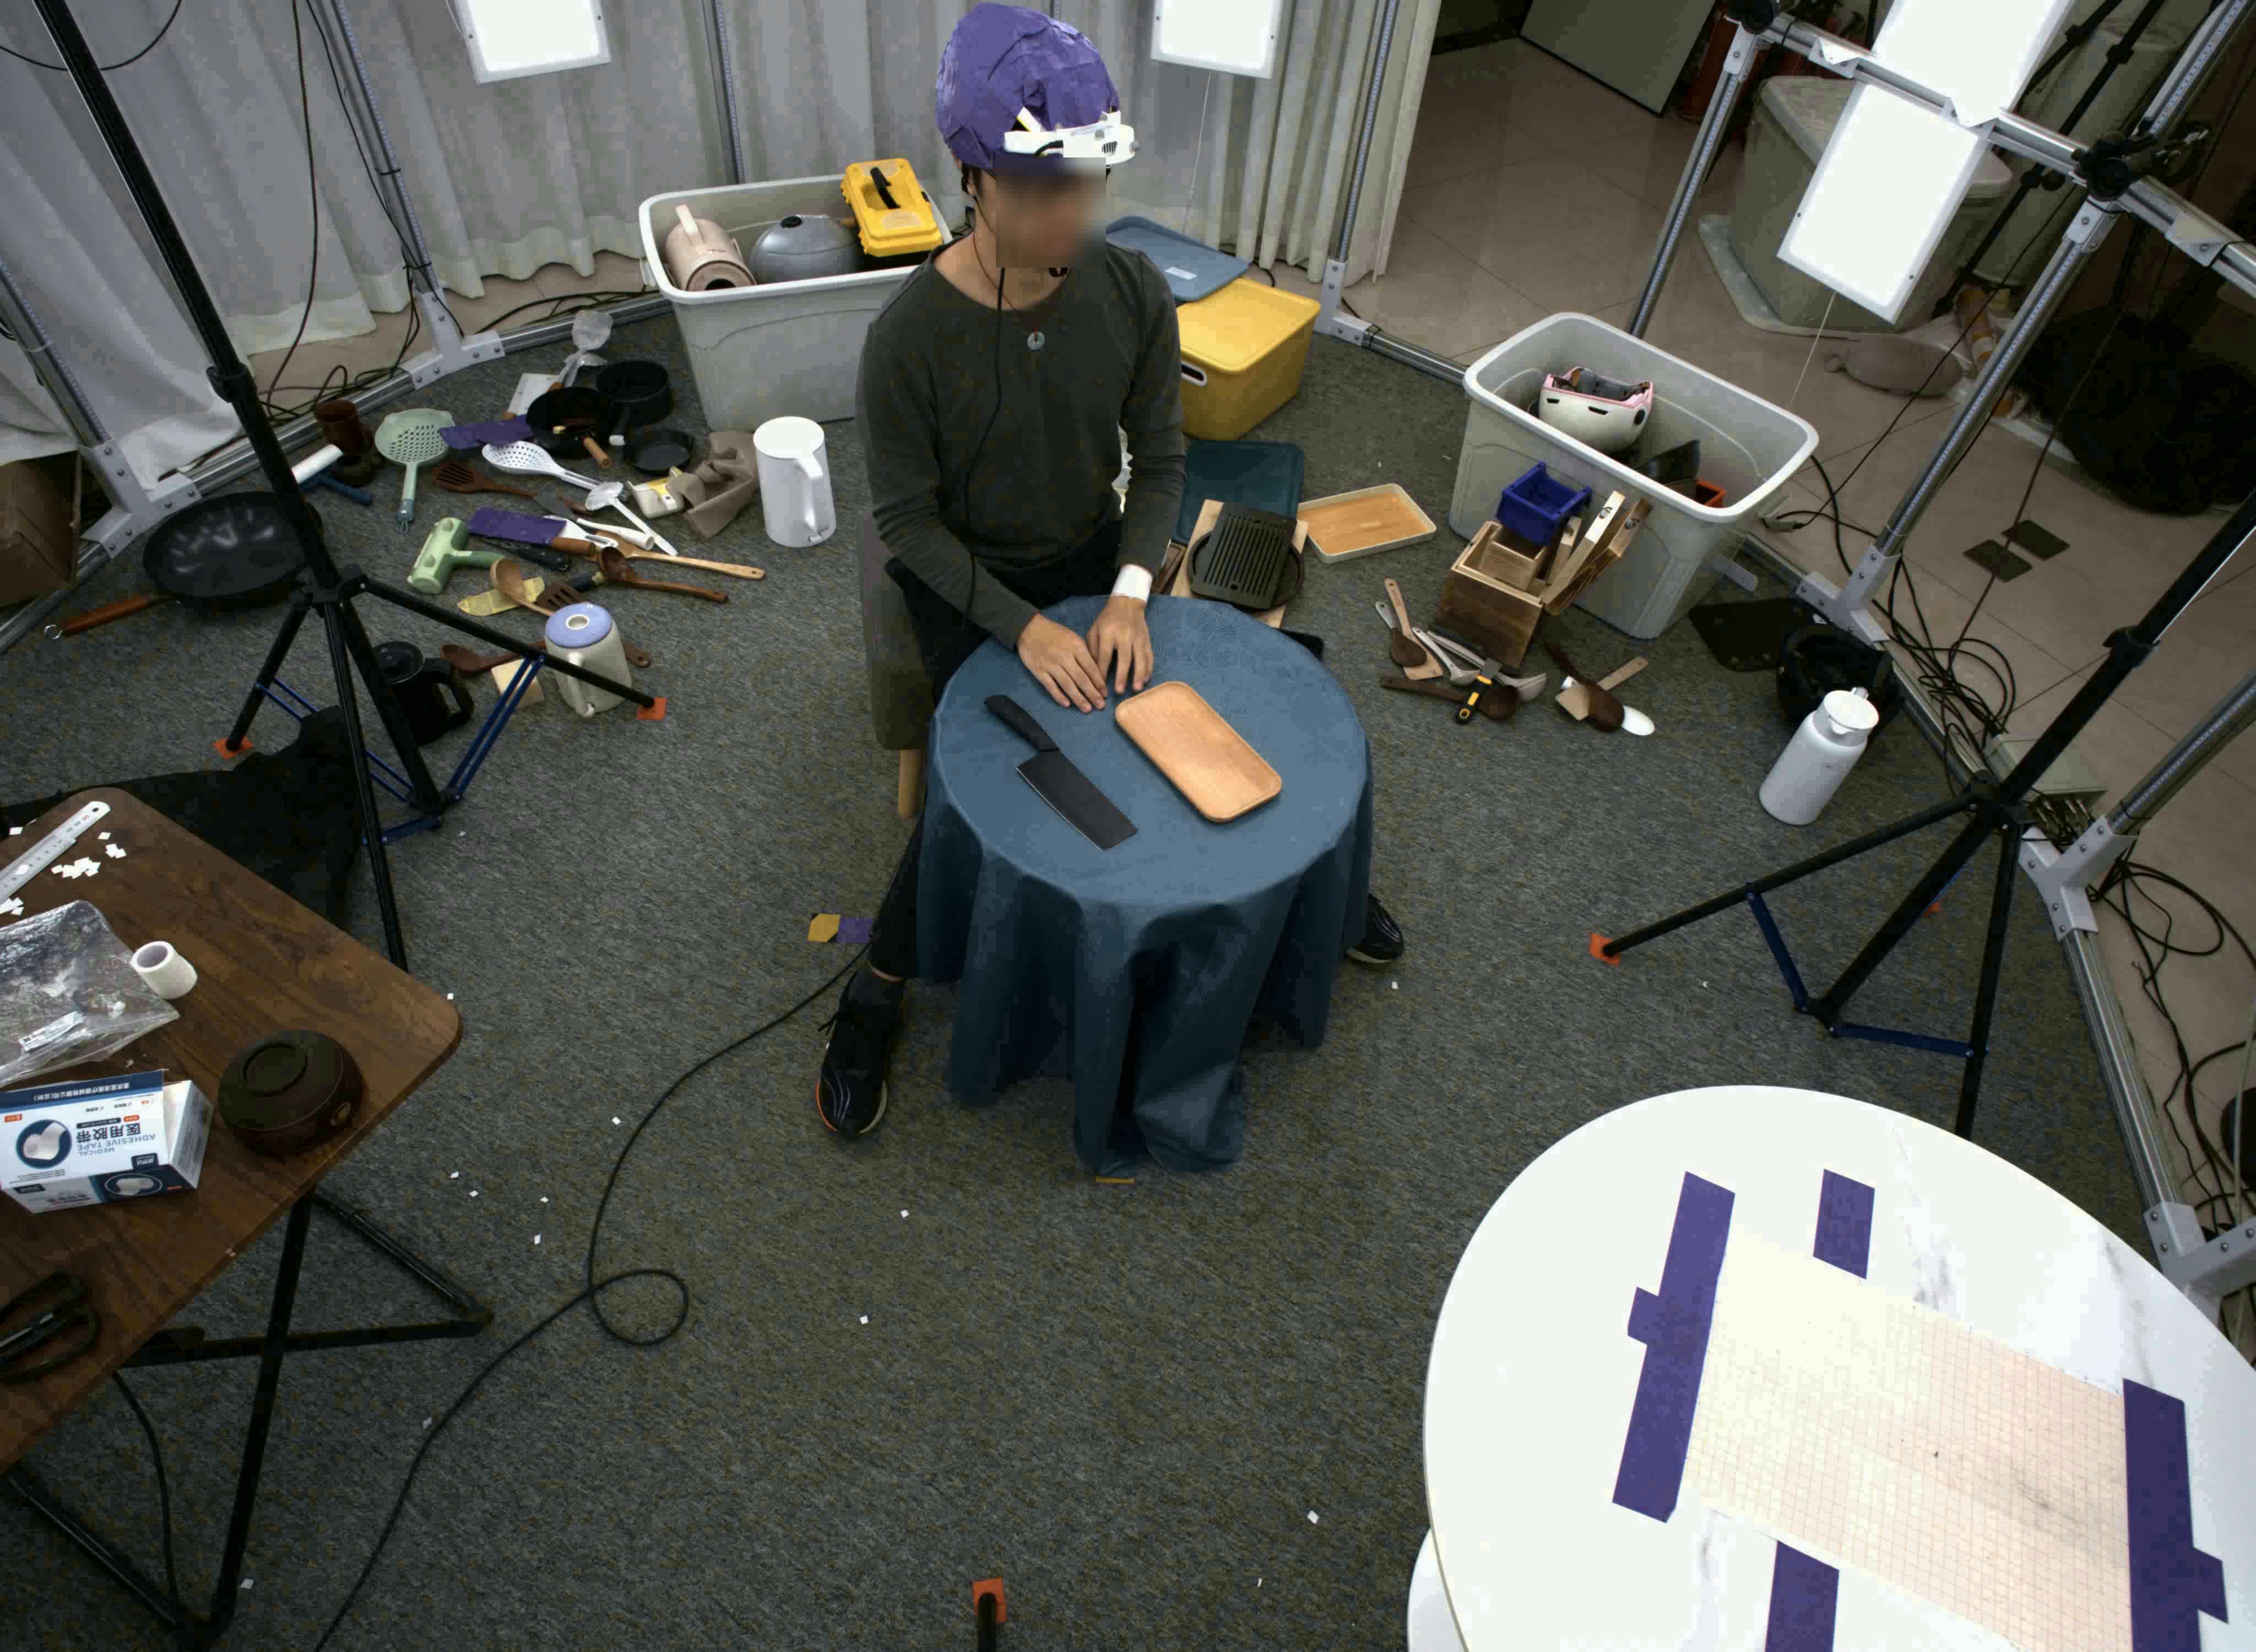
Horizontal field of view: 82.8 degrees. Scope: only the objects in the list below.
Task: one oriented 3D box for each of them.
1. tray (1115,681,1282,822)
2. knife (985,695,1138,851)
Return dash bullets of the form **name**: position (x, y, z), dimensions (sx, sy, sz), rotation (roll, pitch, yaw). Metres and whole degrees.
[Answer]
- **tray**: position (0.094, -0.105, 1.754), dimensions (0.131, 0.022, 0.256), rotation (-23, 53, -25)
- **knife**: position (-0.102, -0.077, 1.718), dimensions (0.081, 0.020, 0.308), rotation (-27, 57, -23)
